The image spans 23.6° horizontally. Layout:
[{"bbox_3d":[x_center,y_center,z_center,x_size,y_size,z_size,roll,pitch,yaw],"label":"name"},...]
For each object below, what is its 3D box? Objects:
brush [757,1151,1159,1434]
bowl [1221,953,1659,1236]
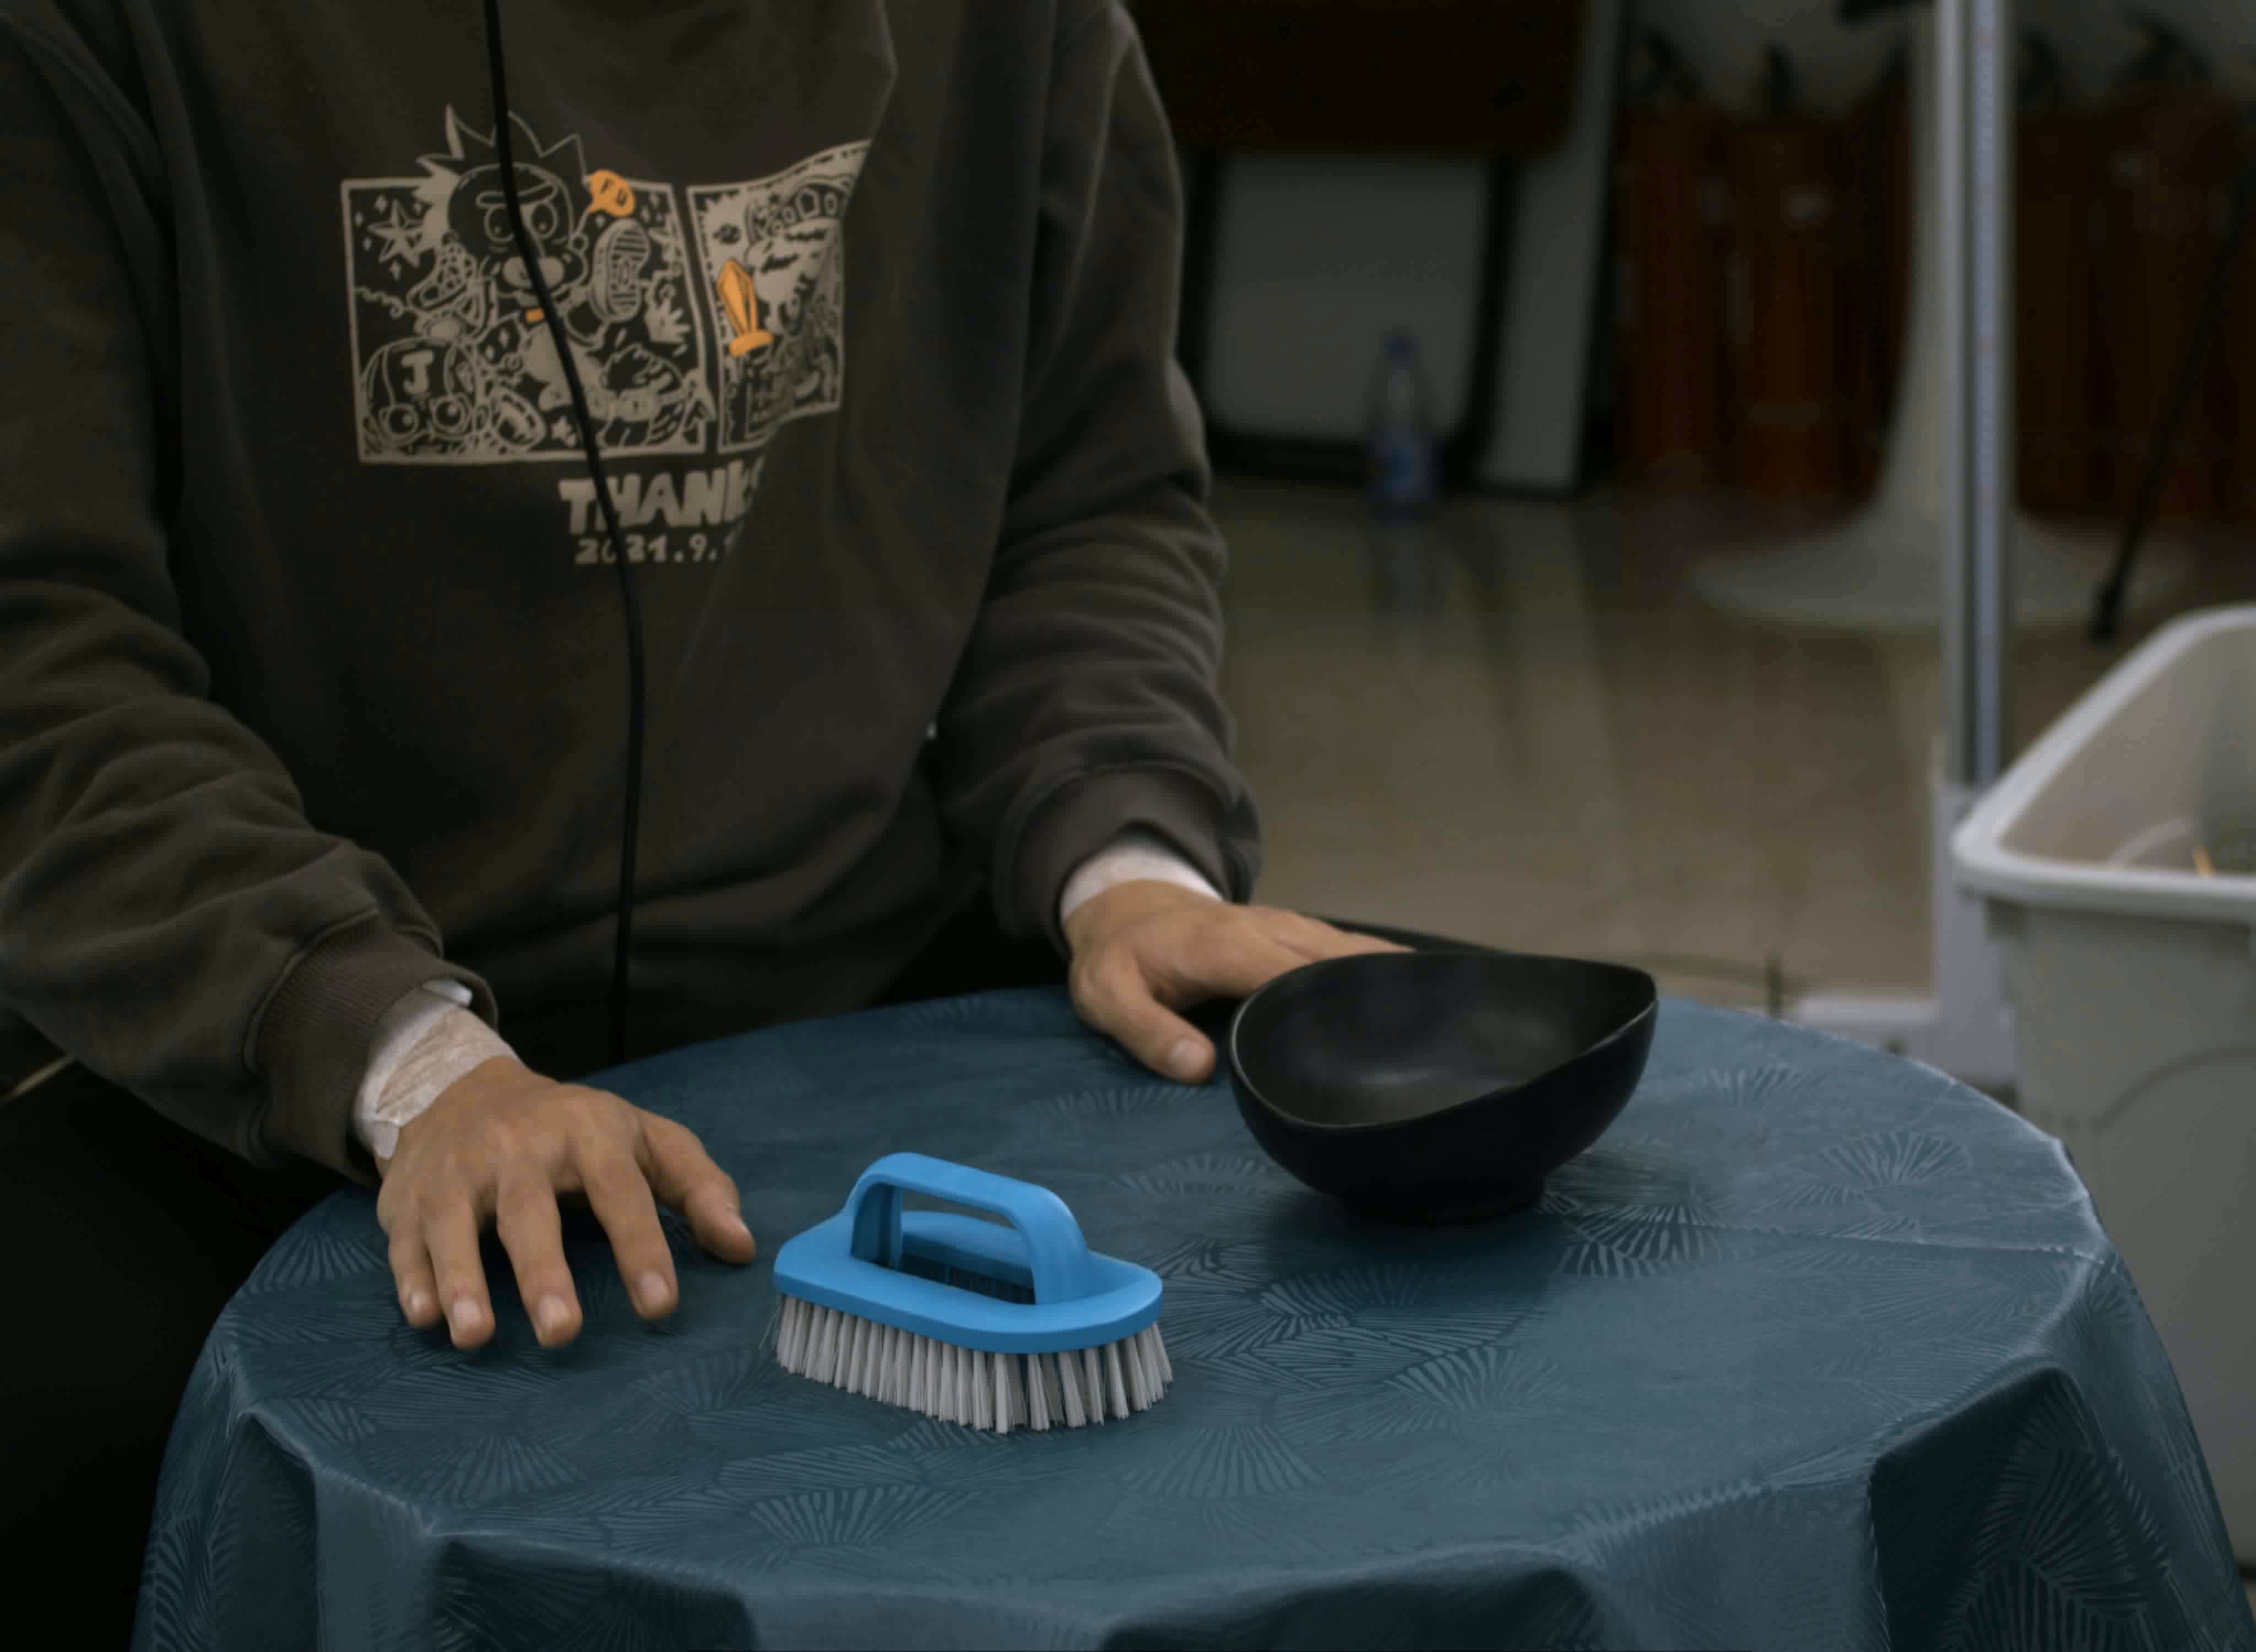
[{"bbox_3d":[-0.049,0.132,1.604,0.082,0.064,0.143,-9,15,-41],"label":"brush"},{"bbox_3d":[0.102,0.091,1.740,0.137,0.067,0.168,2,16,27],"label":"bowl"}]
